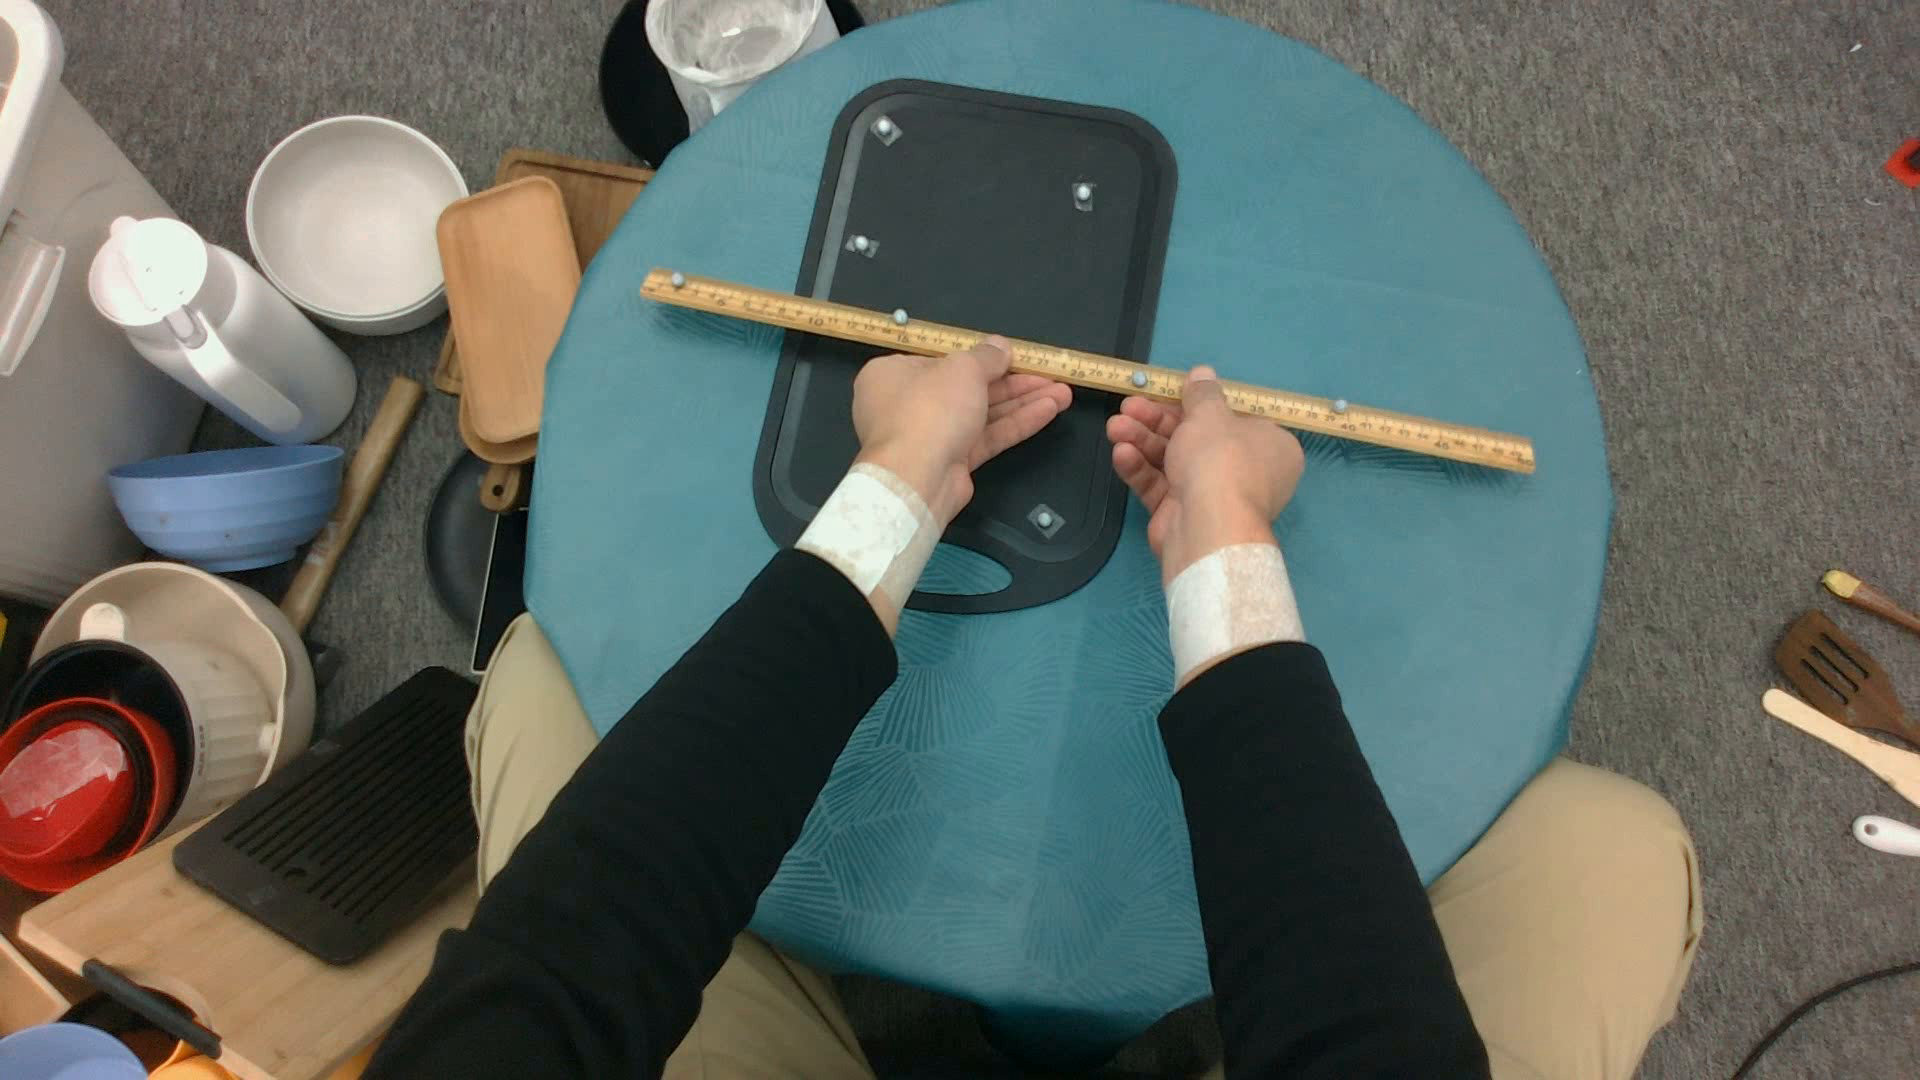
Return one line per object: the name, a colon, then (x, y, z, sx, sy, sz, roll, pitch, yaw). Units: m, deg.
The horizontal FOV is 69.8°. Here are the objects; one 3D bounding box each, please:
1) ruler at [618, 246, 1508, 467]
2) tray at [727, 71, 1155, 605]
ruler: (0.054, -0.102, 0.762, 0.500, 0.006, 0.027, 13, 51, 3)
tray: (-0.008, -0.122, 0.789, 0.211, 0.010, 0.326, 10, 74, 3)
